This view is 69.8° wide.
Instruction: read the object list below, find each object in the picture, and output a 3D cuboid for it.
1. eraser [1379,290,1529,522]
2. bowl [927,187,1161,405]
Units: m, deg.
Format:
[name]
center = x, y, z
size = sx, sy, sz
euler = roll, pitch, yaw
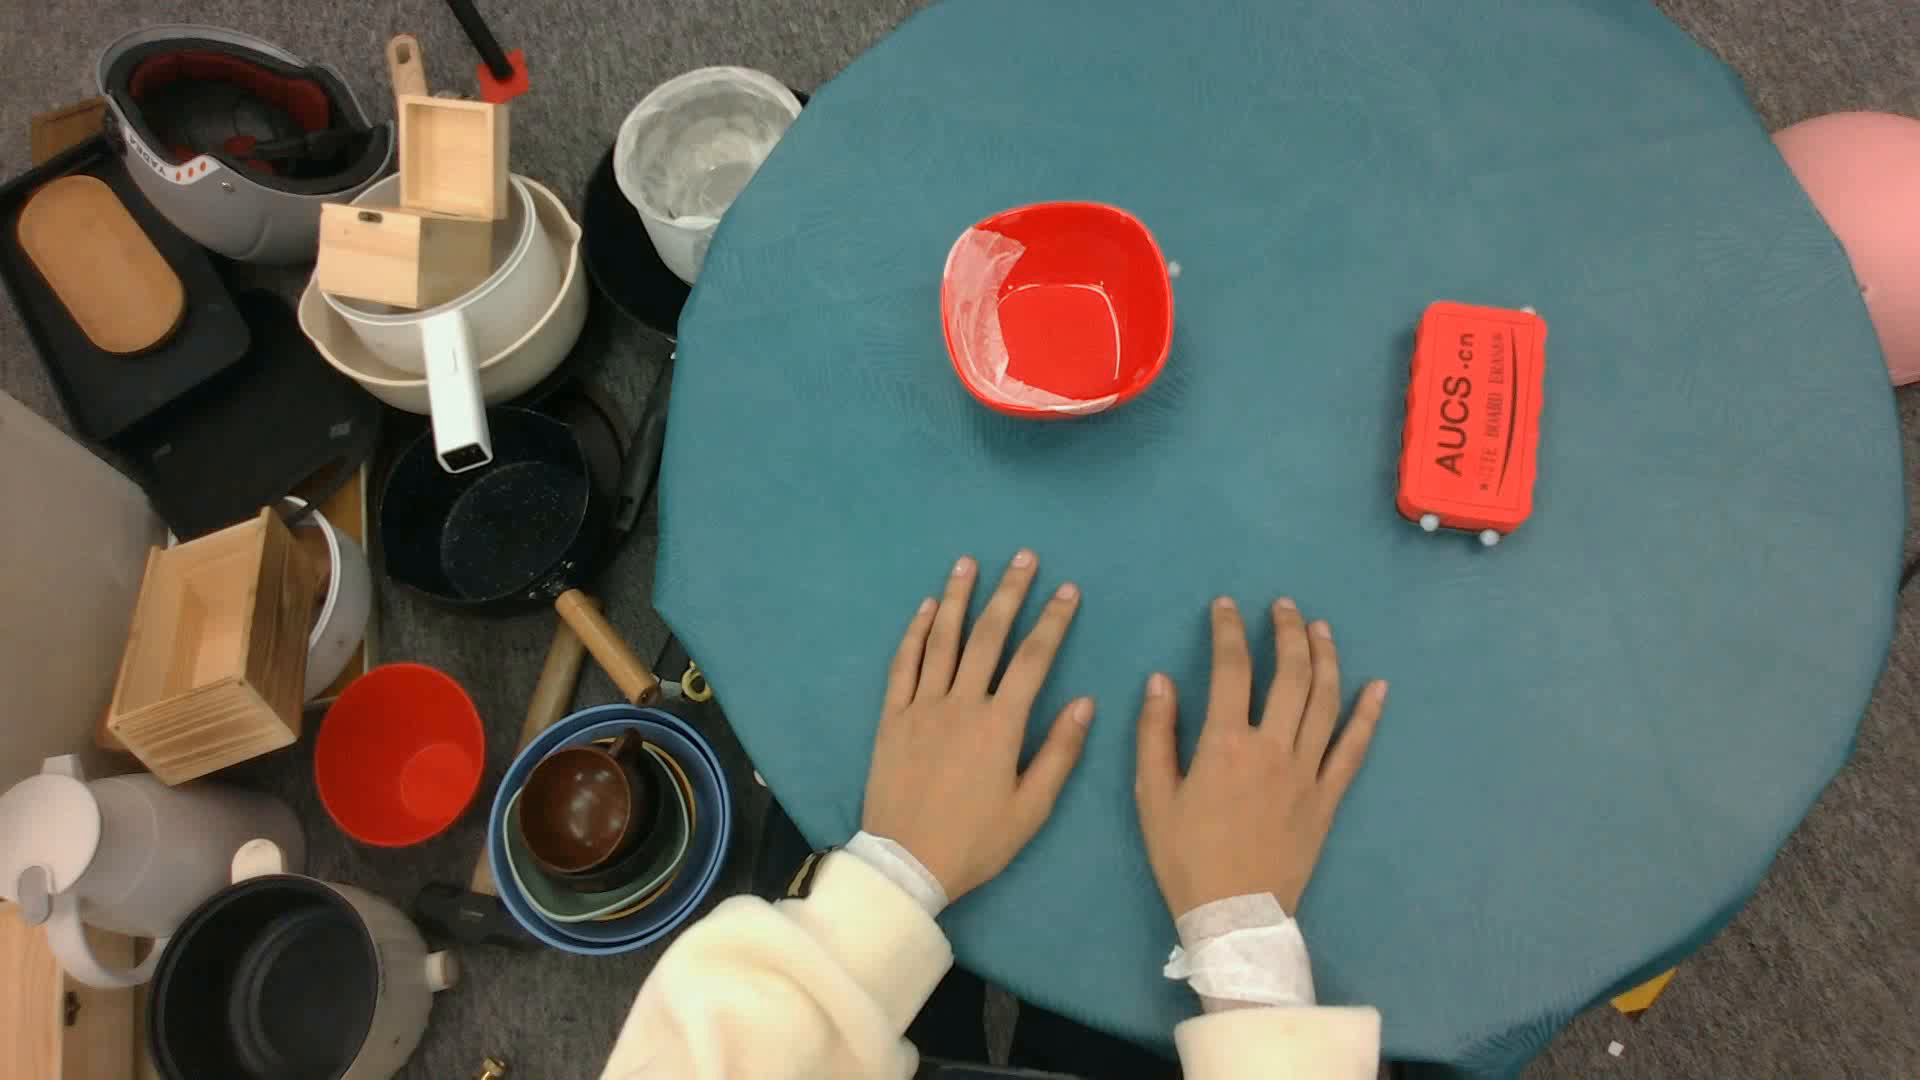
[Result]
[eraser]
center = 0.237, -0.065, 0.661
size = 0.059, 0.023, 0.108
euler = 11, 73, 5
[bowl]
center = 0.041, -0.112, 0.675
size = 0.119, 0.051, 0.119
euler = -1, 73, 3
